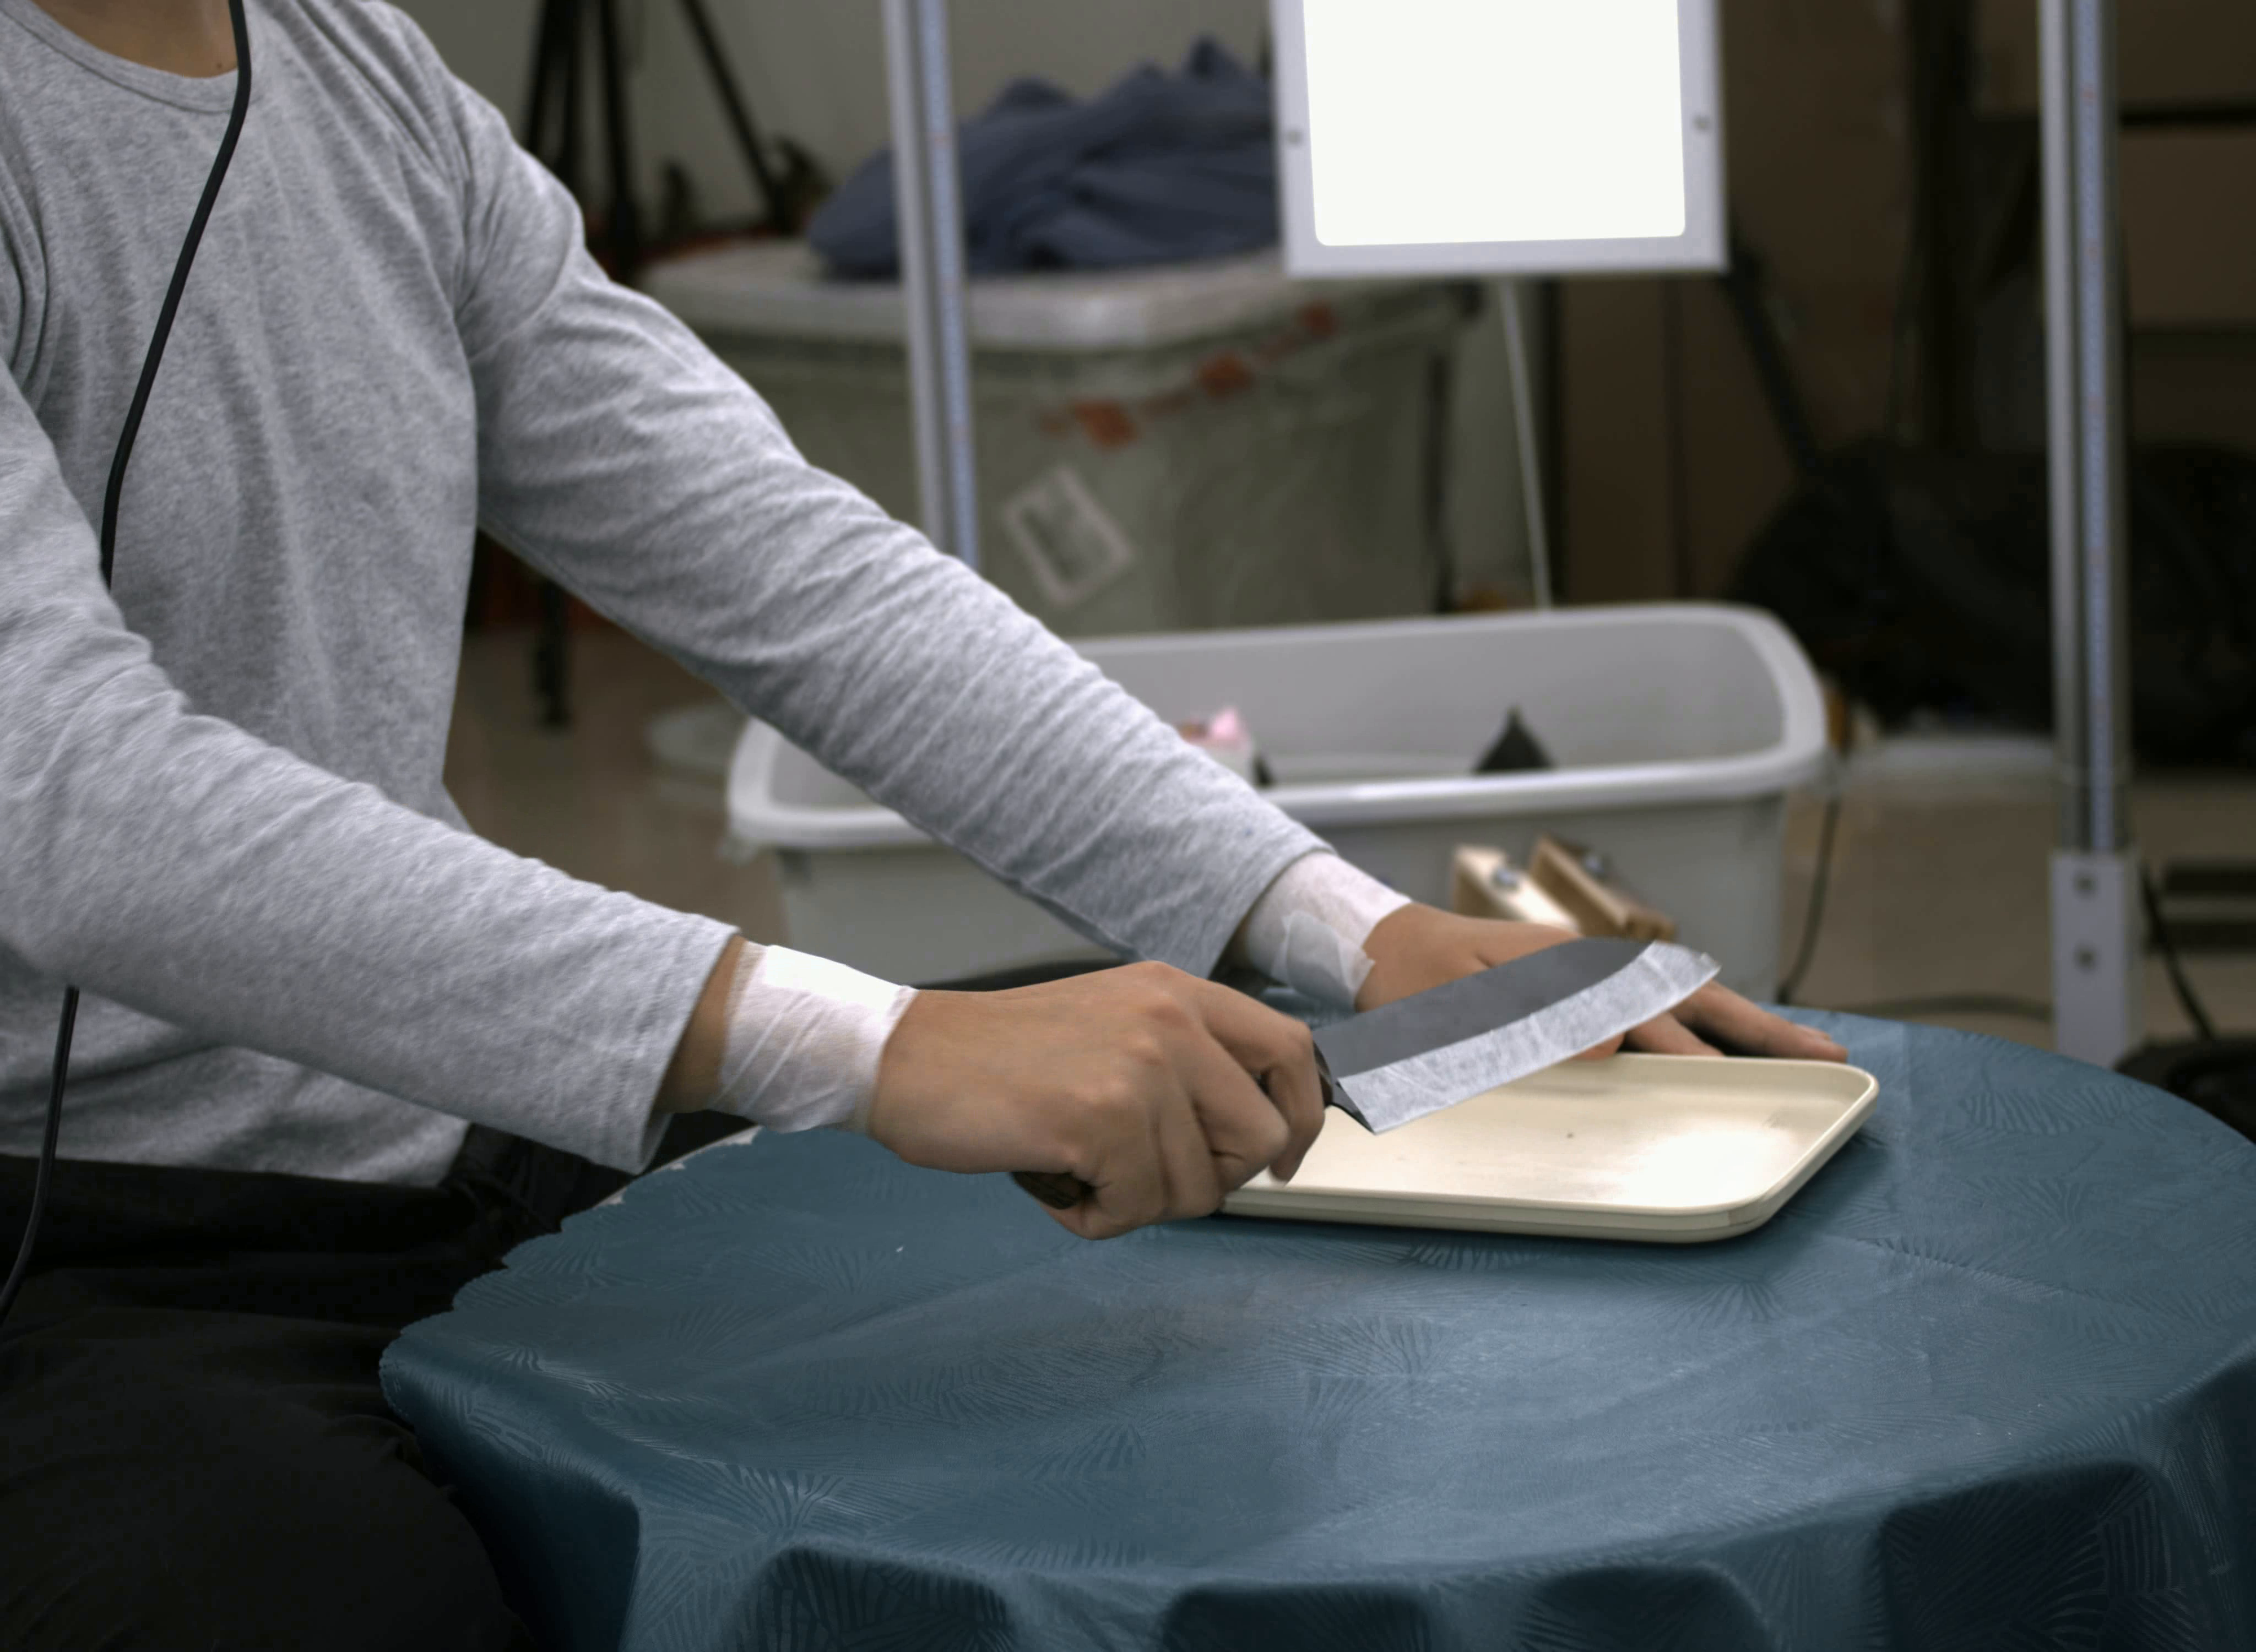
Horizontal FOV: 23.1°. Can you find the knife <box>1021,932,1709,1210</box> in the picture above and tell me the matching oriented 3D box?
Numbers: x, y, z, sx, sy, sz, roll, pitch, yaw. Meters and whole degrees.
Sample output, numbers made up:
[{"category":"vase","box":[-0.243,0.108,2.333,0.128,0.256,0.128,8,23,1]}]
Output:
[{"category":"knife","box":[0.083,0.078,1.782,0.282,0.020,0.051,-15,56,-34]}]

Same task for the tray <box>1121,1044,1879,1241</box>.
[{"category":"tray","box":[0.129,0.108,1.895,0.244,0.017,0.167,2,15,27]}]
